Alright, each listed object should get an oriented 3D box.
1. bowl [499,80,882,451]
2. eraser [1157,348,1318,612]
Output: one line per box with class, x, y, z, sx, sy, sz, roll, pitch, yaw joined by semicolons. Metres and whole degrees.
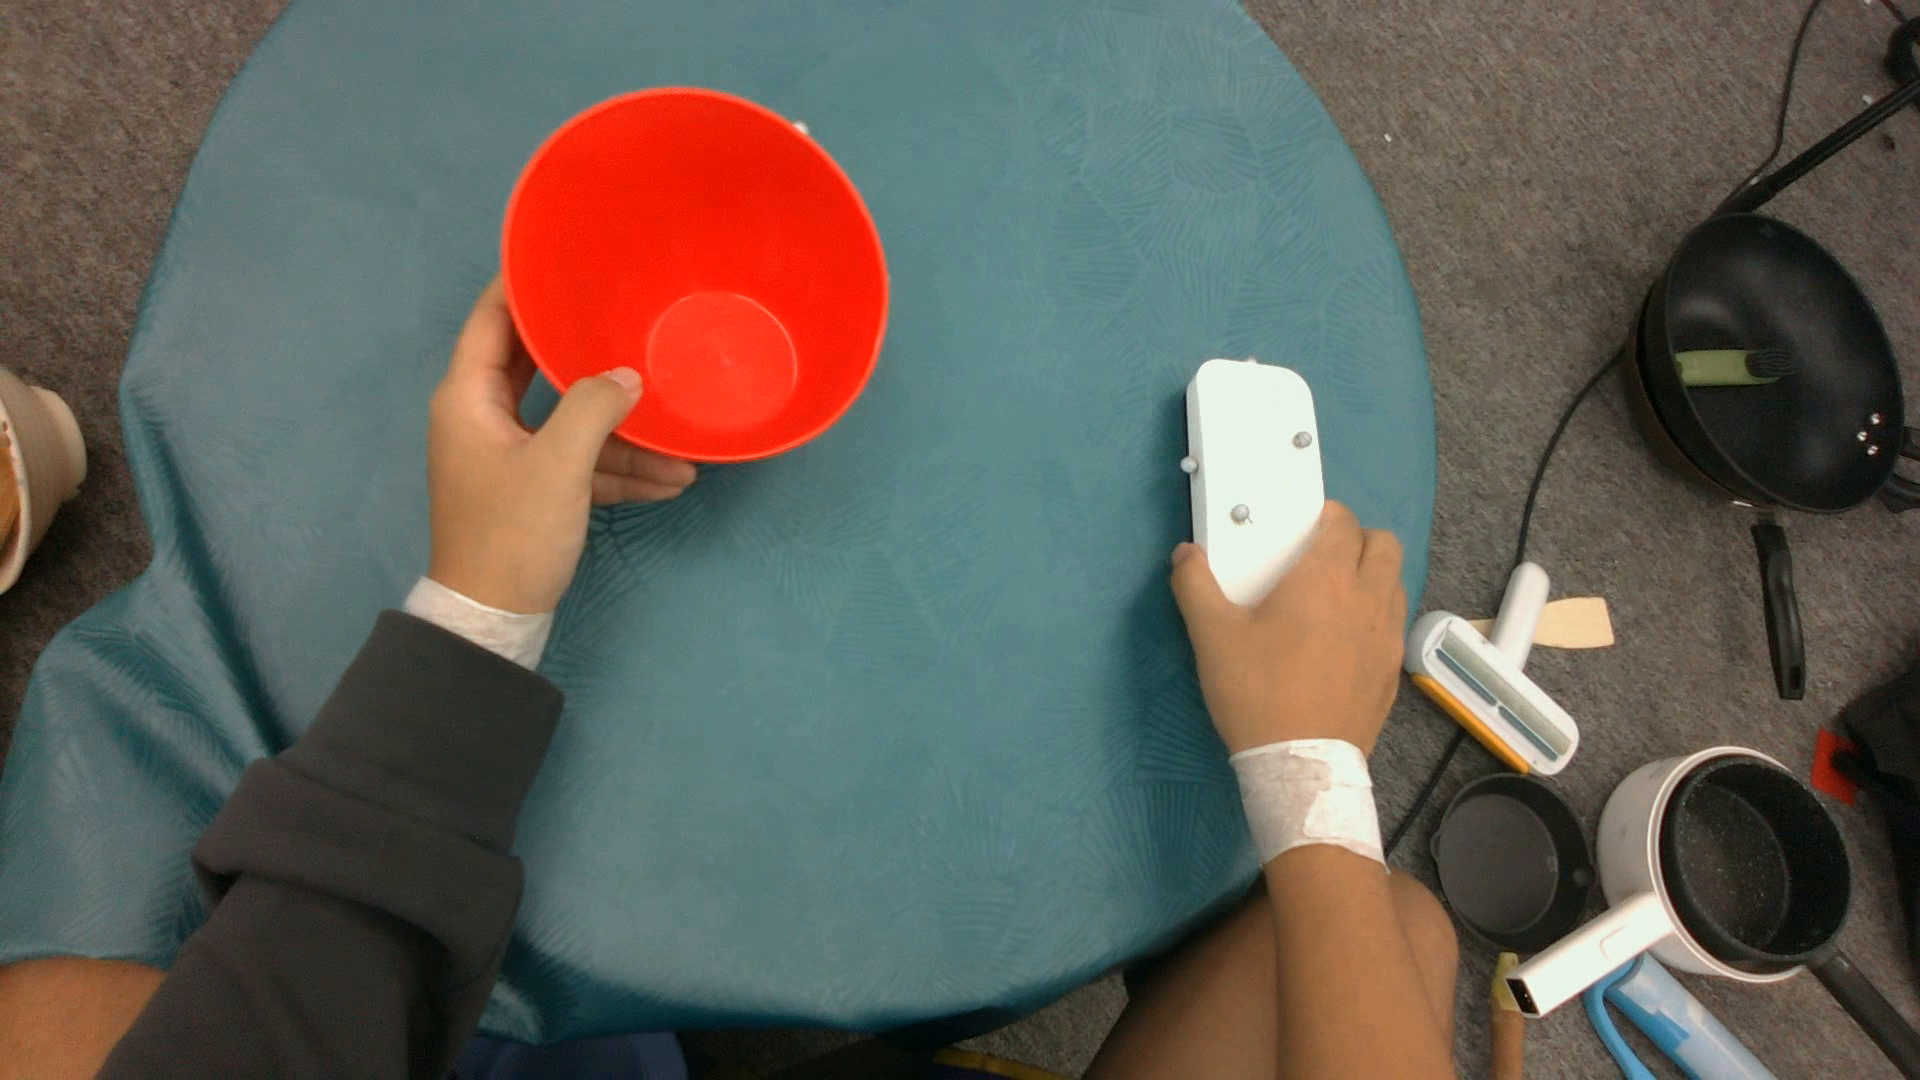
bowl;-0.110;-0.101;0.577;0.148;0.104;0.148;2;79;-12
eraser;0.128;-0.030;0.650;0.063;0.034;0.132;4;65;-16
